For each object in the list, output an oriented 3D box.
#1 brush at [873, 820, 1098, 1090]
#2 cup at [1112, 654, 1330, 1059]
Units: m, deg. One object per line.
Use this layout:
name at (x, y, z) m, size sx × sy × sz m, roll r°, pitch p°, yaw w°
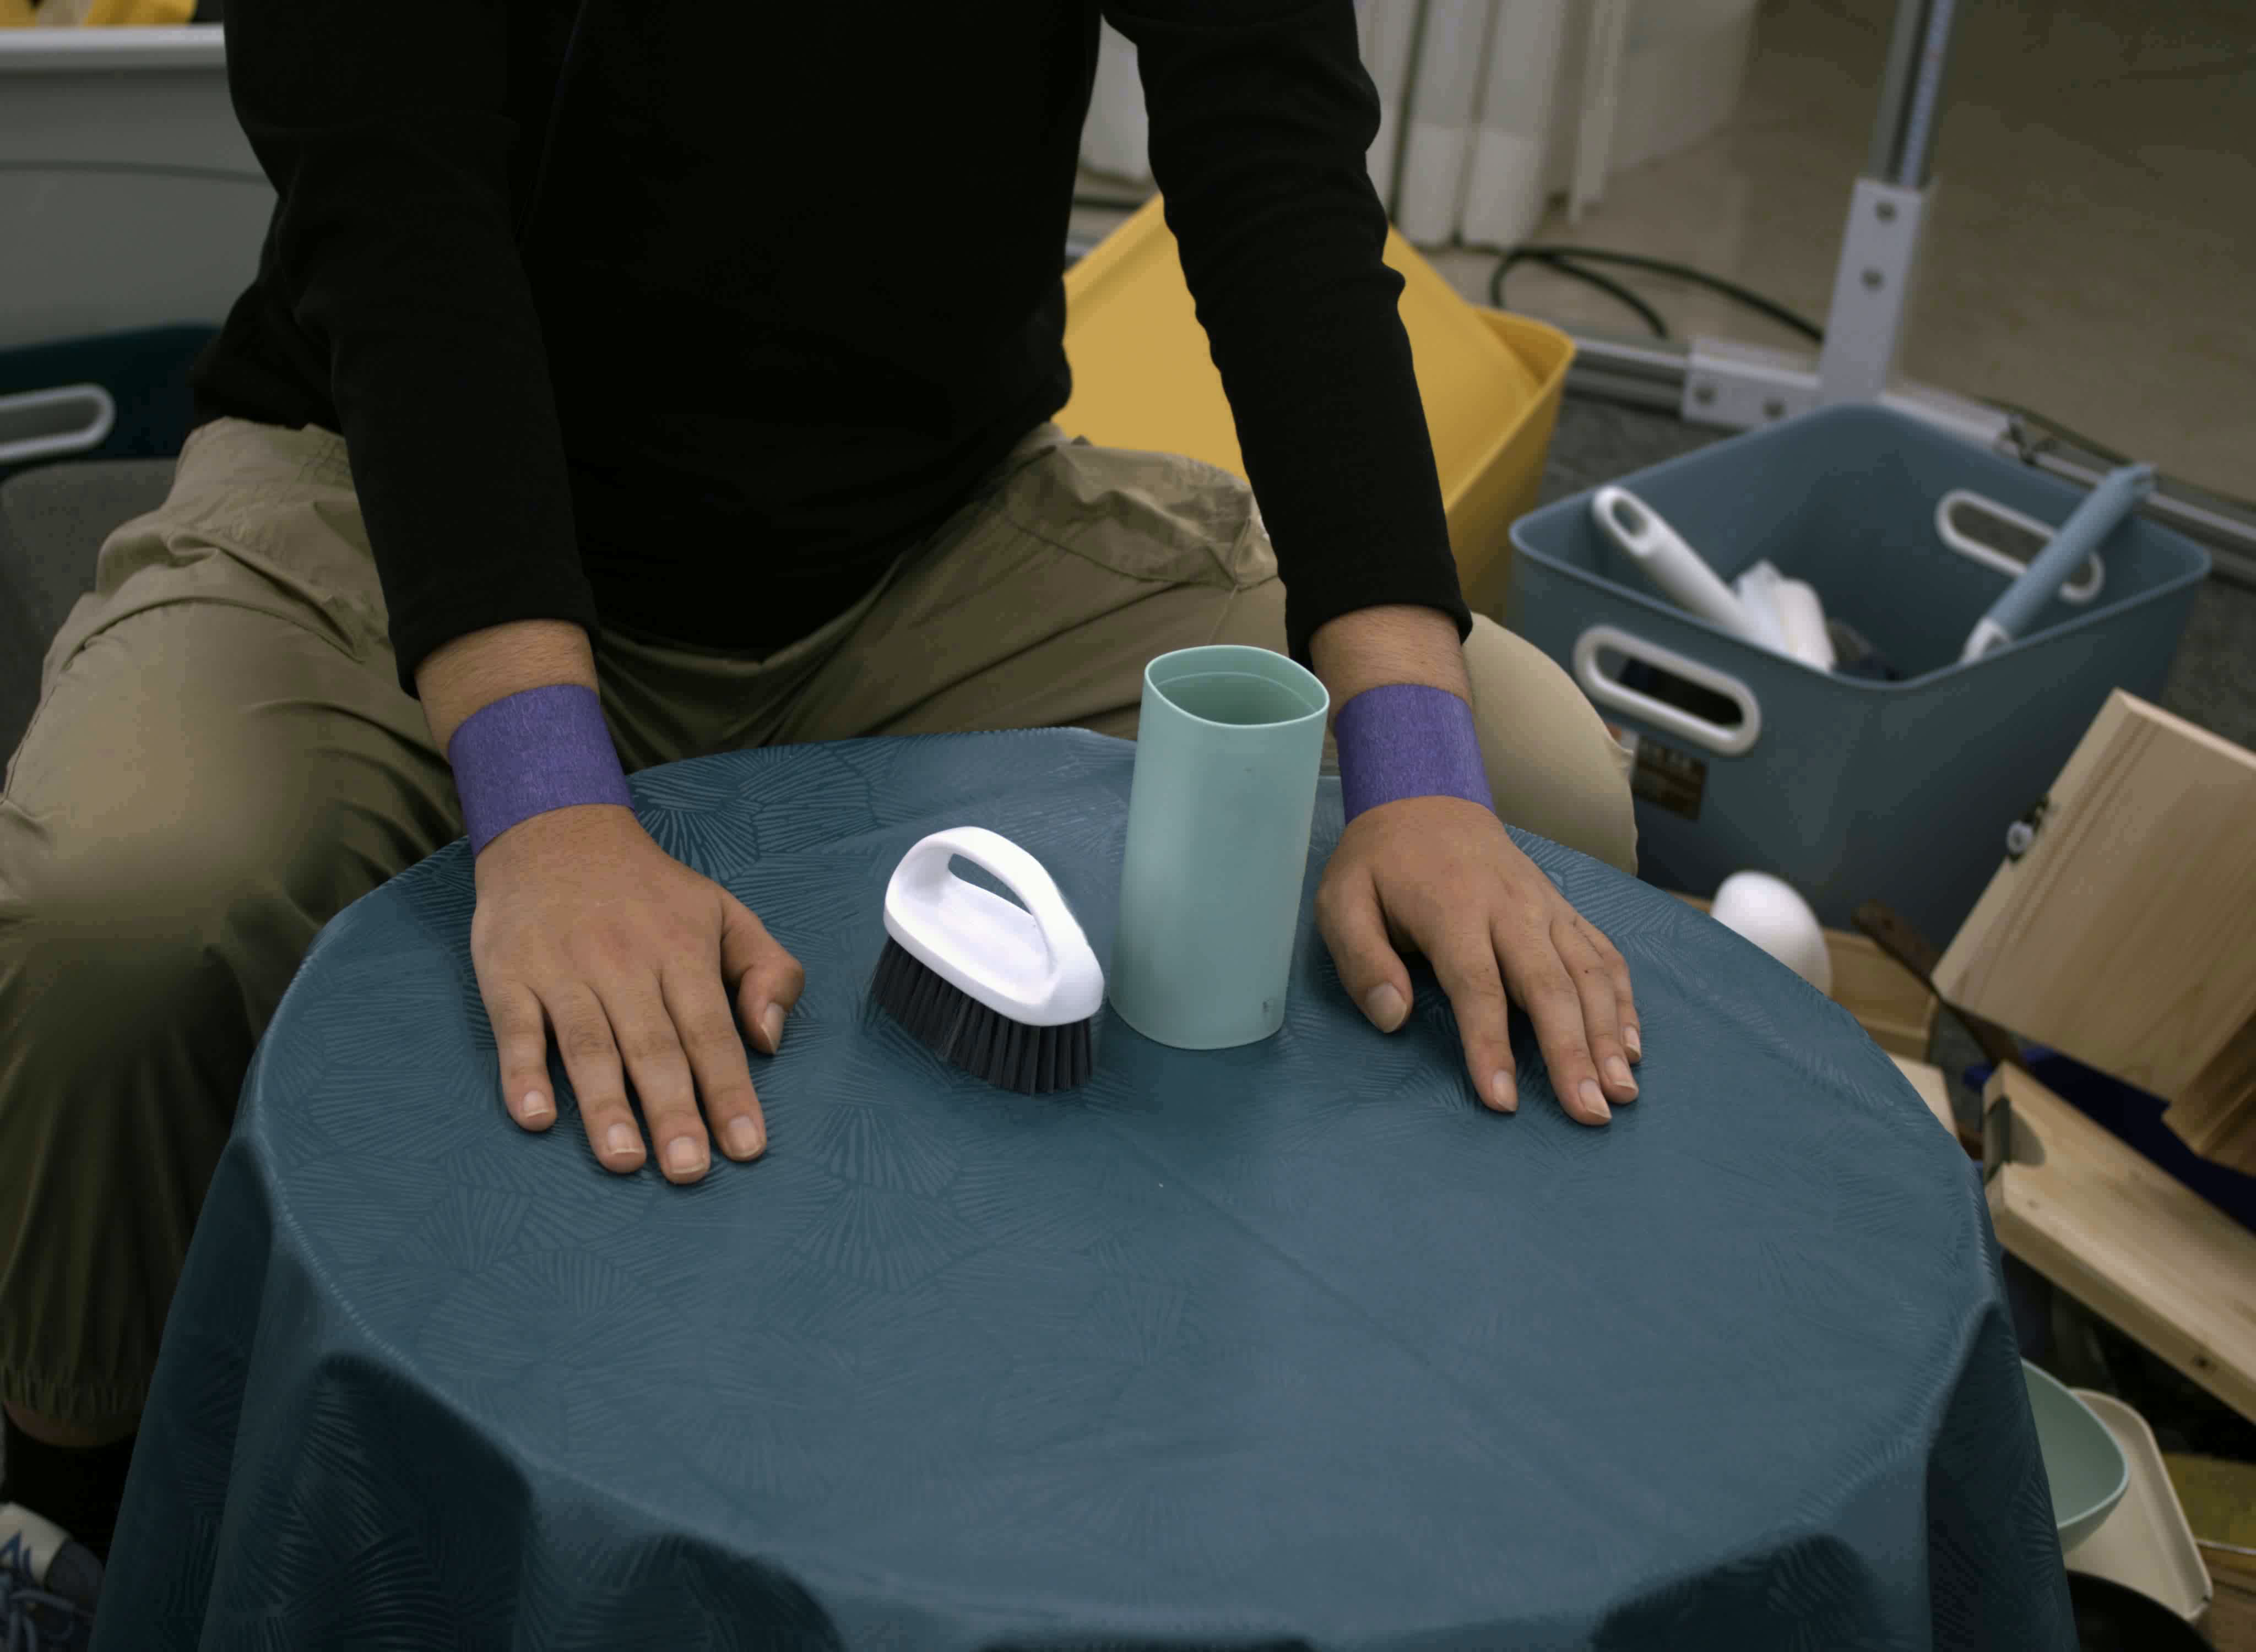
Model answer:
brush at (-0.049, 0.039, 1.873) m, size 0.050 × 0.072 × 0.100 m, roll -12°, pitch 34°, yaw -36°
cup at (0.031, 0.011, 1.893) m, size 0.066 × 0.132 × 0.067 m, roll 5°, pitch 27°, yaw -3°
